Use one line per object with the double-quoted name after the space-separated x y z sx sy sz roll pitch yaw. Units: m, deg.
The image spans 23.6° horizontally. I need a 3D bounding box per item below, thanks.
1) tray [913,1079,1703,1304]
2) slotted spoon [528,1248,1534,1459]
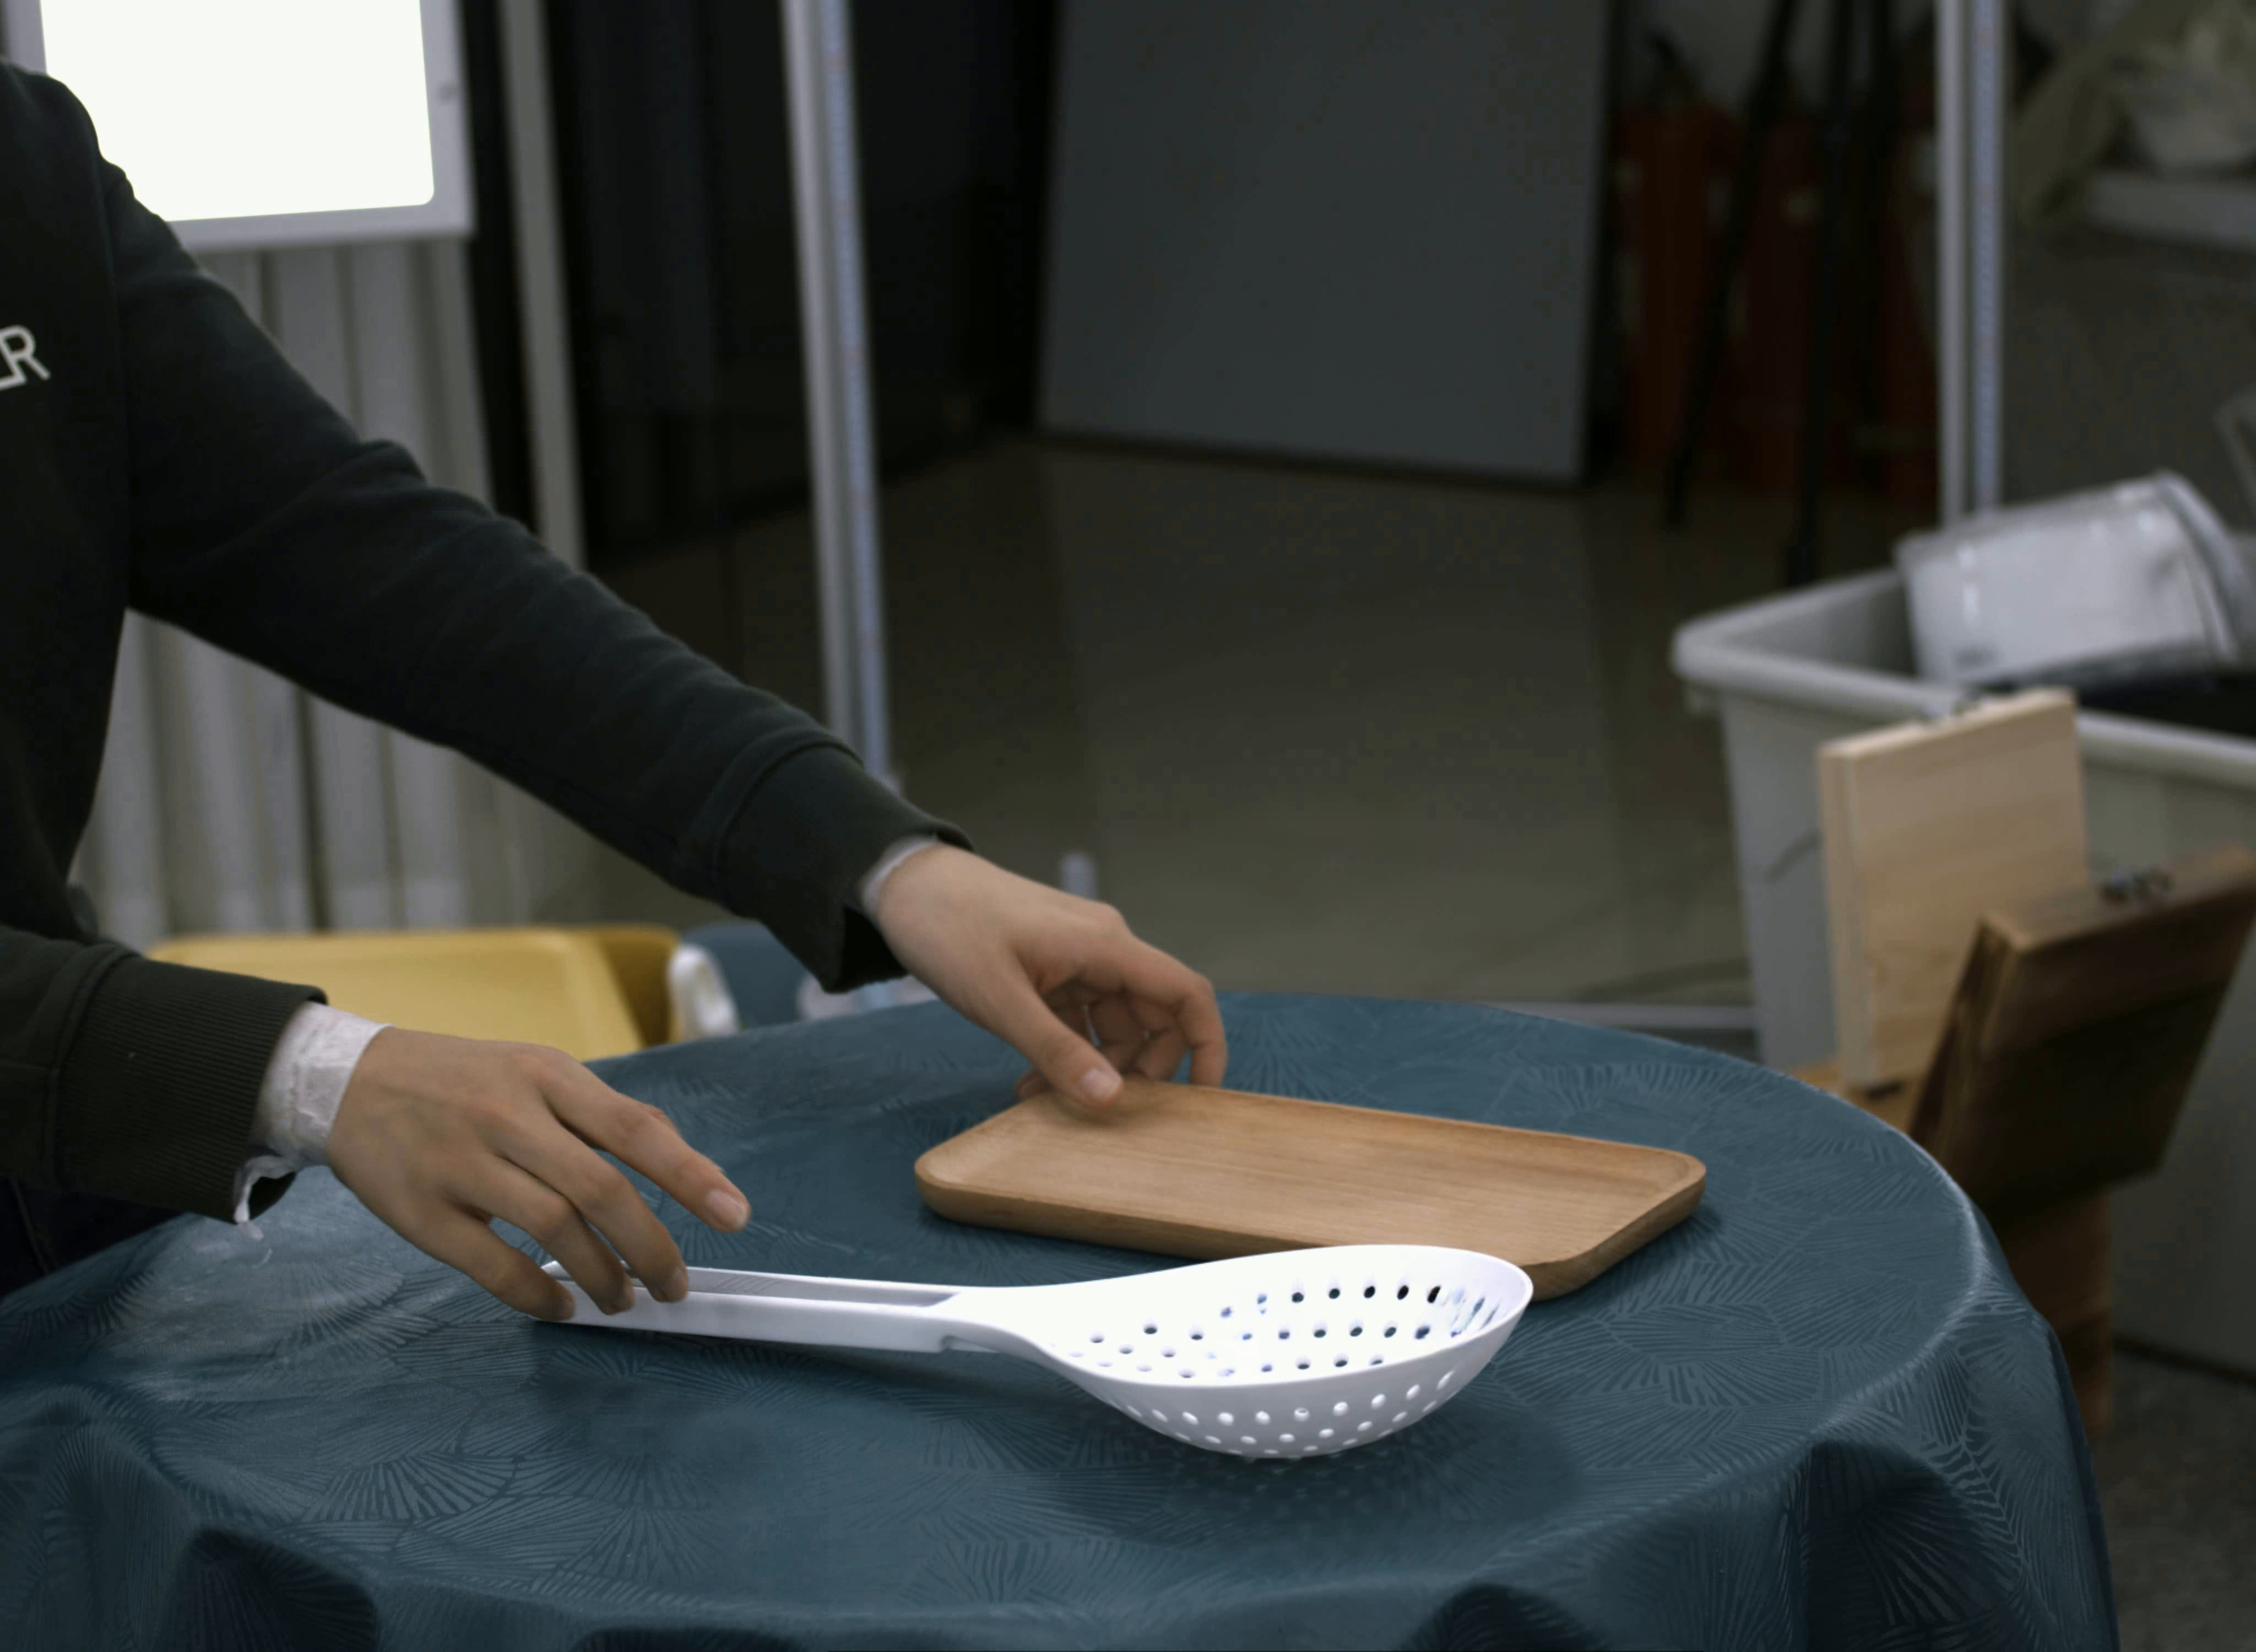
0.057 0.117 1.739 0.252 0.023 0.128 4 14 34 "tray"
-0.039 0.146 1.589 0.352 0.046 0.133 5 14 35 "slotted spoon"
